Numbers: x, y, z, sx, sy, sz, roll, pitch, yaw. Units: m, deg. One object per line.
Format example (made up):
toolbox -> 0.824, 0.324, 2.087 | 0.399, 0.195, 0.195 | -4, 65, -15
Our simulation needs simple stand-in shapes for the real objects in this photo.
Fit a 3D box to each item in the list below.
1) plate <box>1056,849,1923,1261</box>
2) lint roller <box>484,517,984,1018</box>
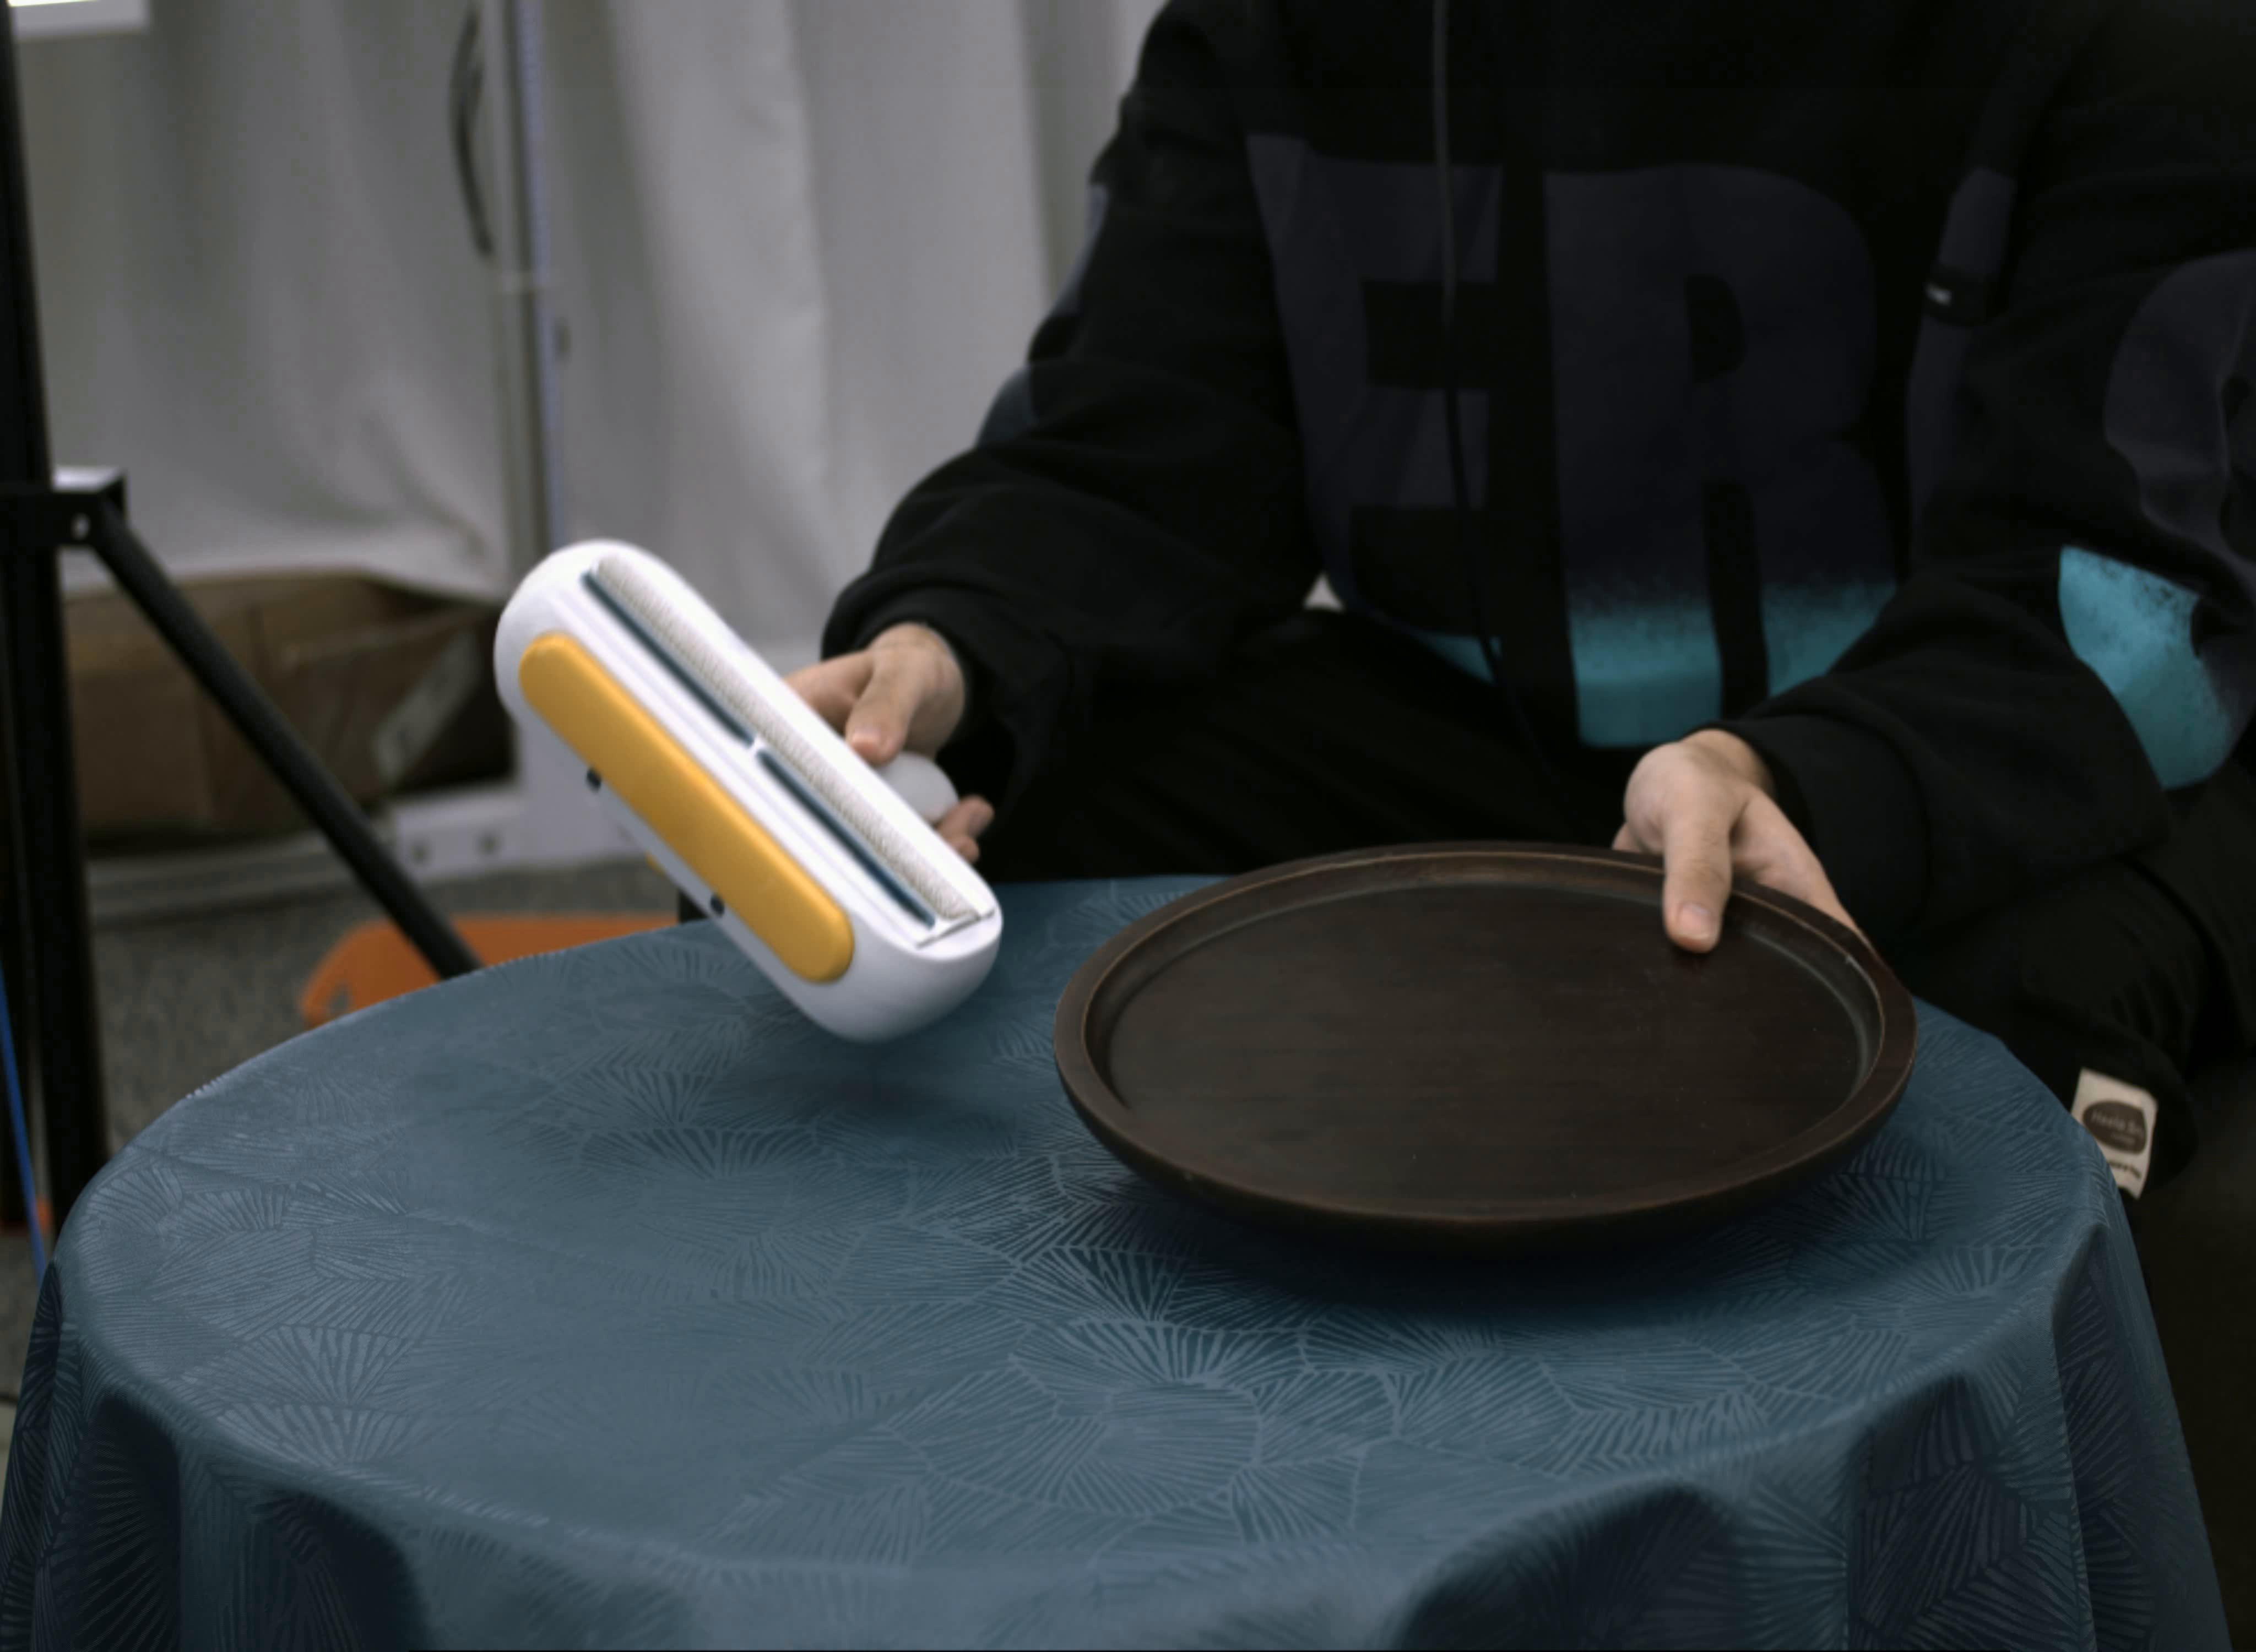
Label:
plate -> 0.105, 0.064, 1.546 | 0.253, 0.029, 0.256 | -2, 22, -1
lint roller -> -0.099, -0.017, 1.711 | 0.196, 0.074, 0.188 | 42, 23, 22
